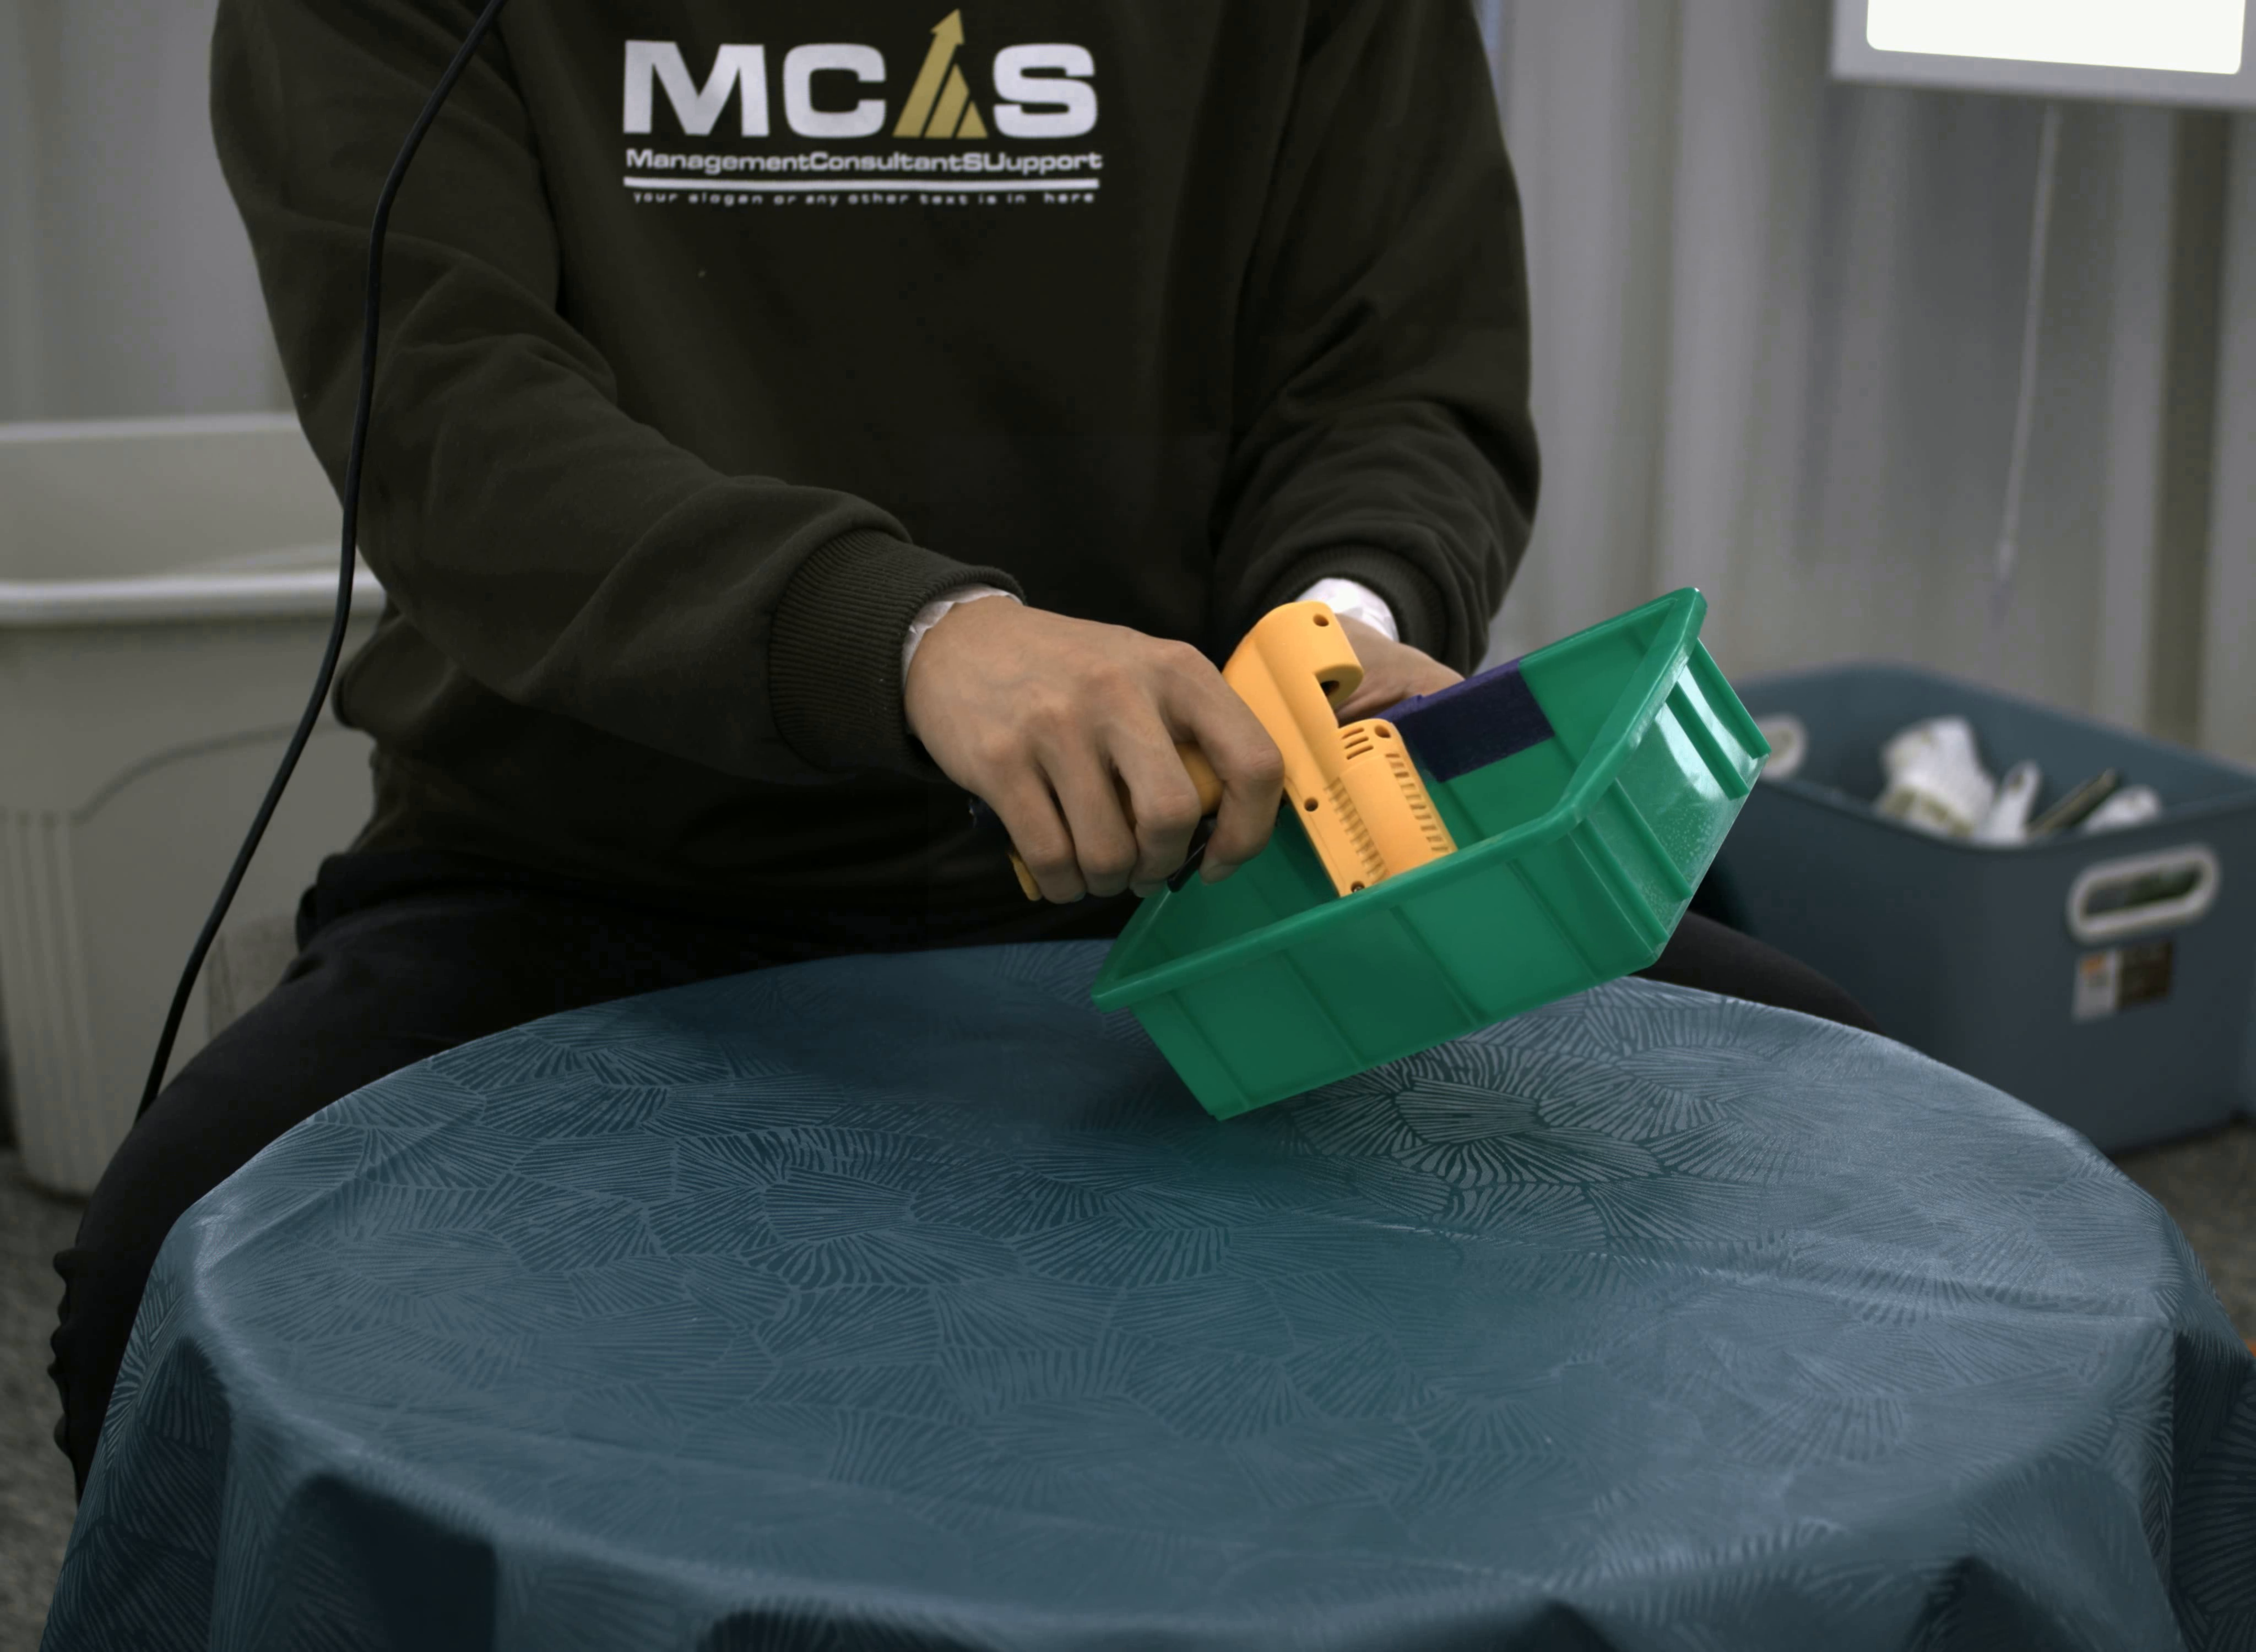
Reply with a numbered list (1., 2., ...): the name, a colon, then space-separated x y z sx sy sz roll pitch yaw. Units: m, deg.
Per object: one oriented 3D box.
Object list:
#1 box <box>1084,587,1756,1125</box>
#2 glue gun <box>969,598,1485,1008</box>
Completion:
1. box: 0.097 0.014 1.676 0.209 0.066 0.138 -25 18 37
2. glue gun: 0.040 0.016 1.652 0.133 0.031 0.150 -29 67 -5
